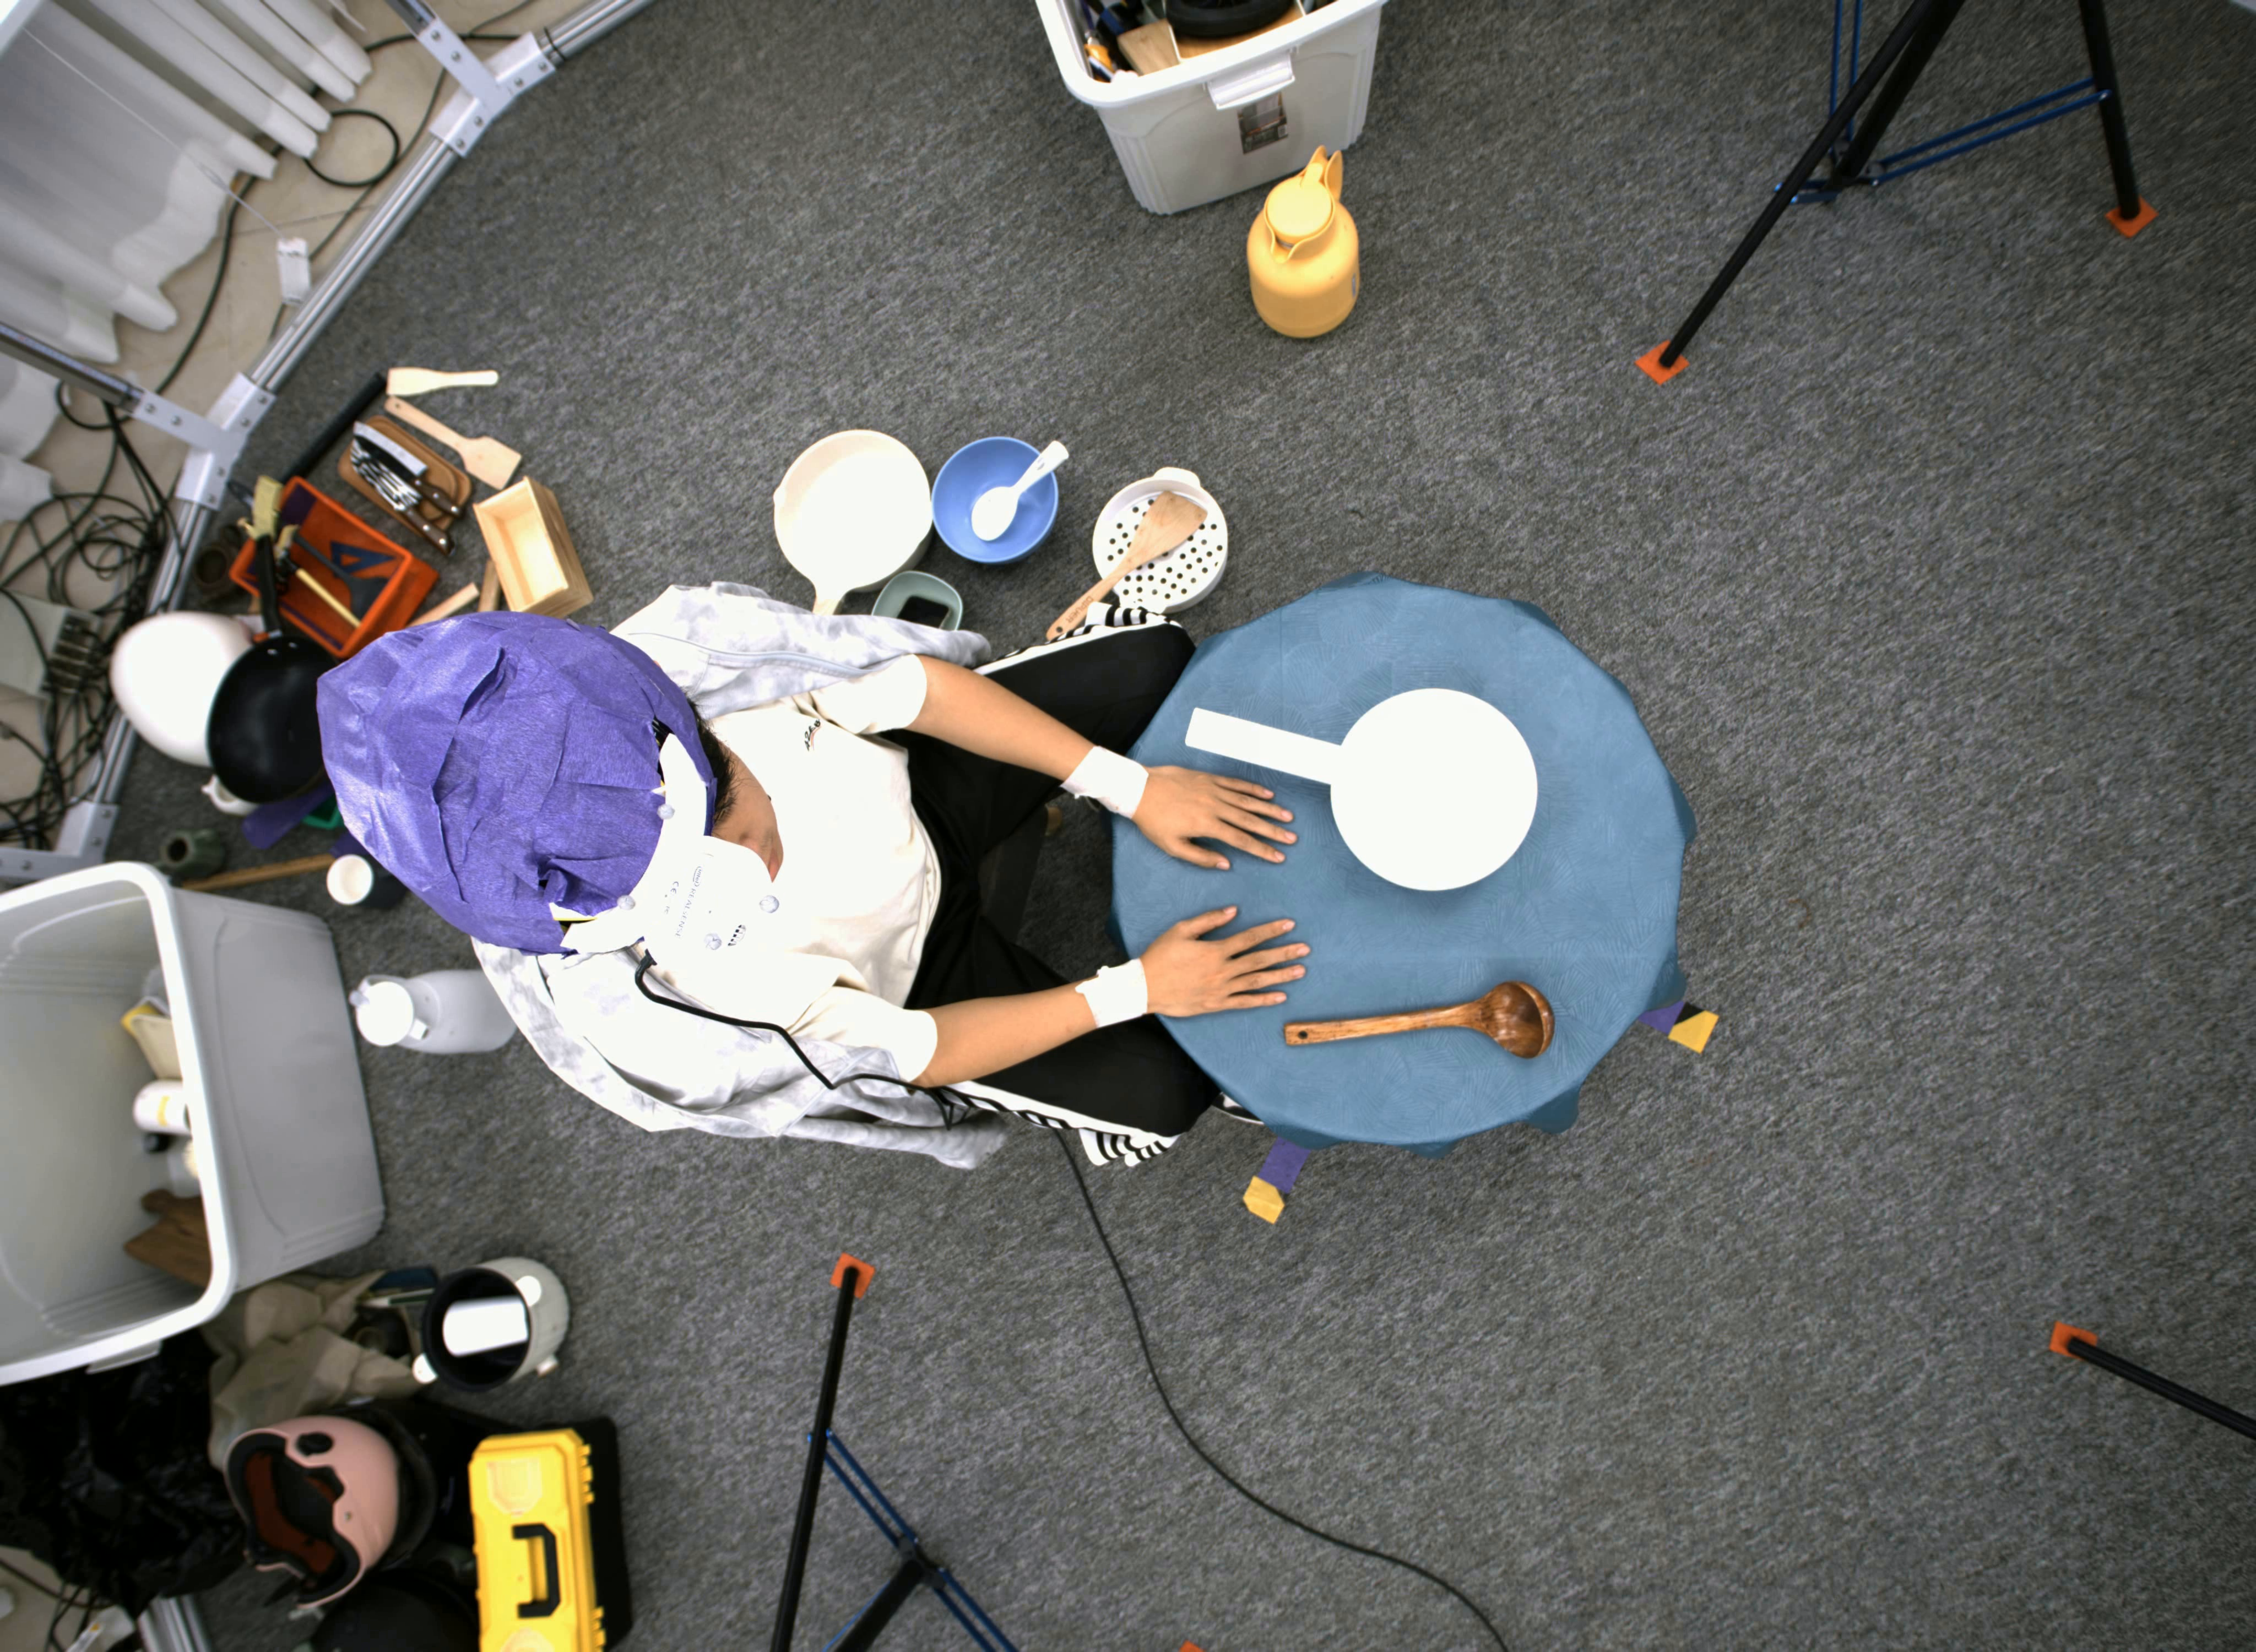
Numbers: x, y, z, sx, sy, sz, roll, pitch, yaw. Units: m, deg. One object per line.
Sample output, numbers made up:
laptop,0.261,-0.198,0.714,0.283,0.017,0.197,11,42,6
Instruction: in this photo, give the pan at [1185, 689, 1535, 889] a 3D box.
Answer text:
pan,0.236,-0.056,1.422,0.355,0.102,0.201,16,91,12

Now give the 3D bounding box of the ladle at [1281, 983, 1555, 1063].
ladle,0.293,0.204,1.407,0.275,0.076,0.082,-5,97,9
